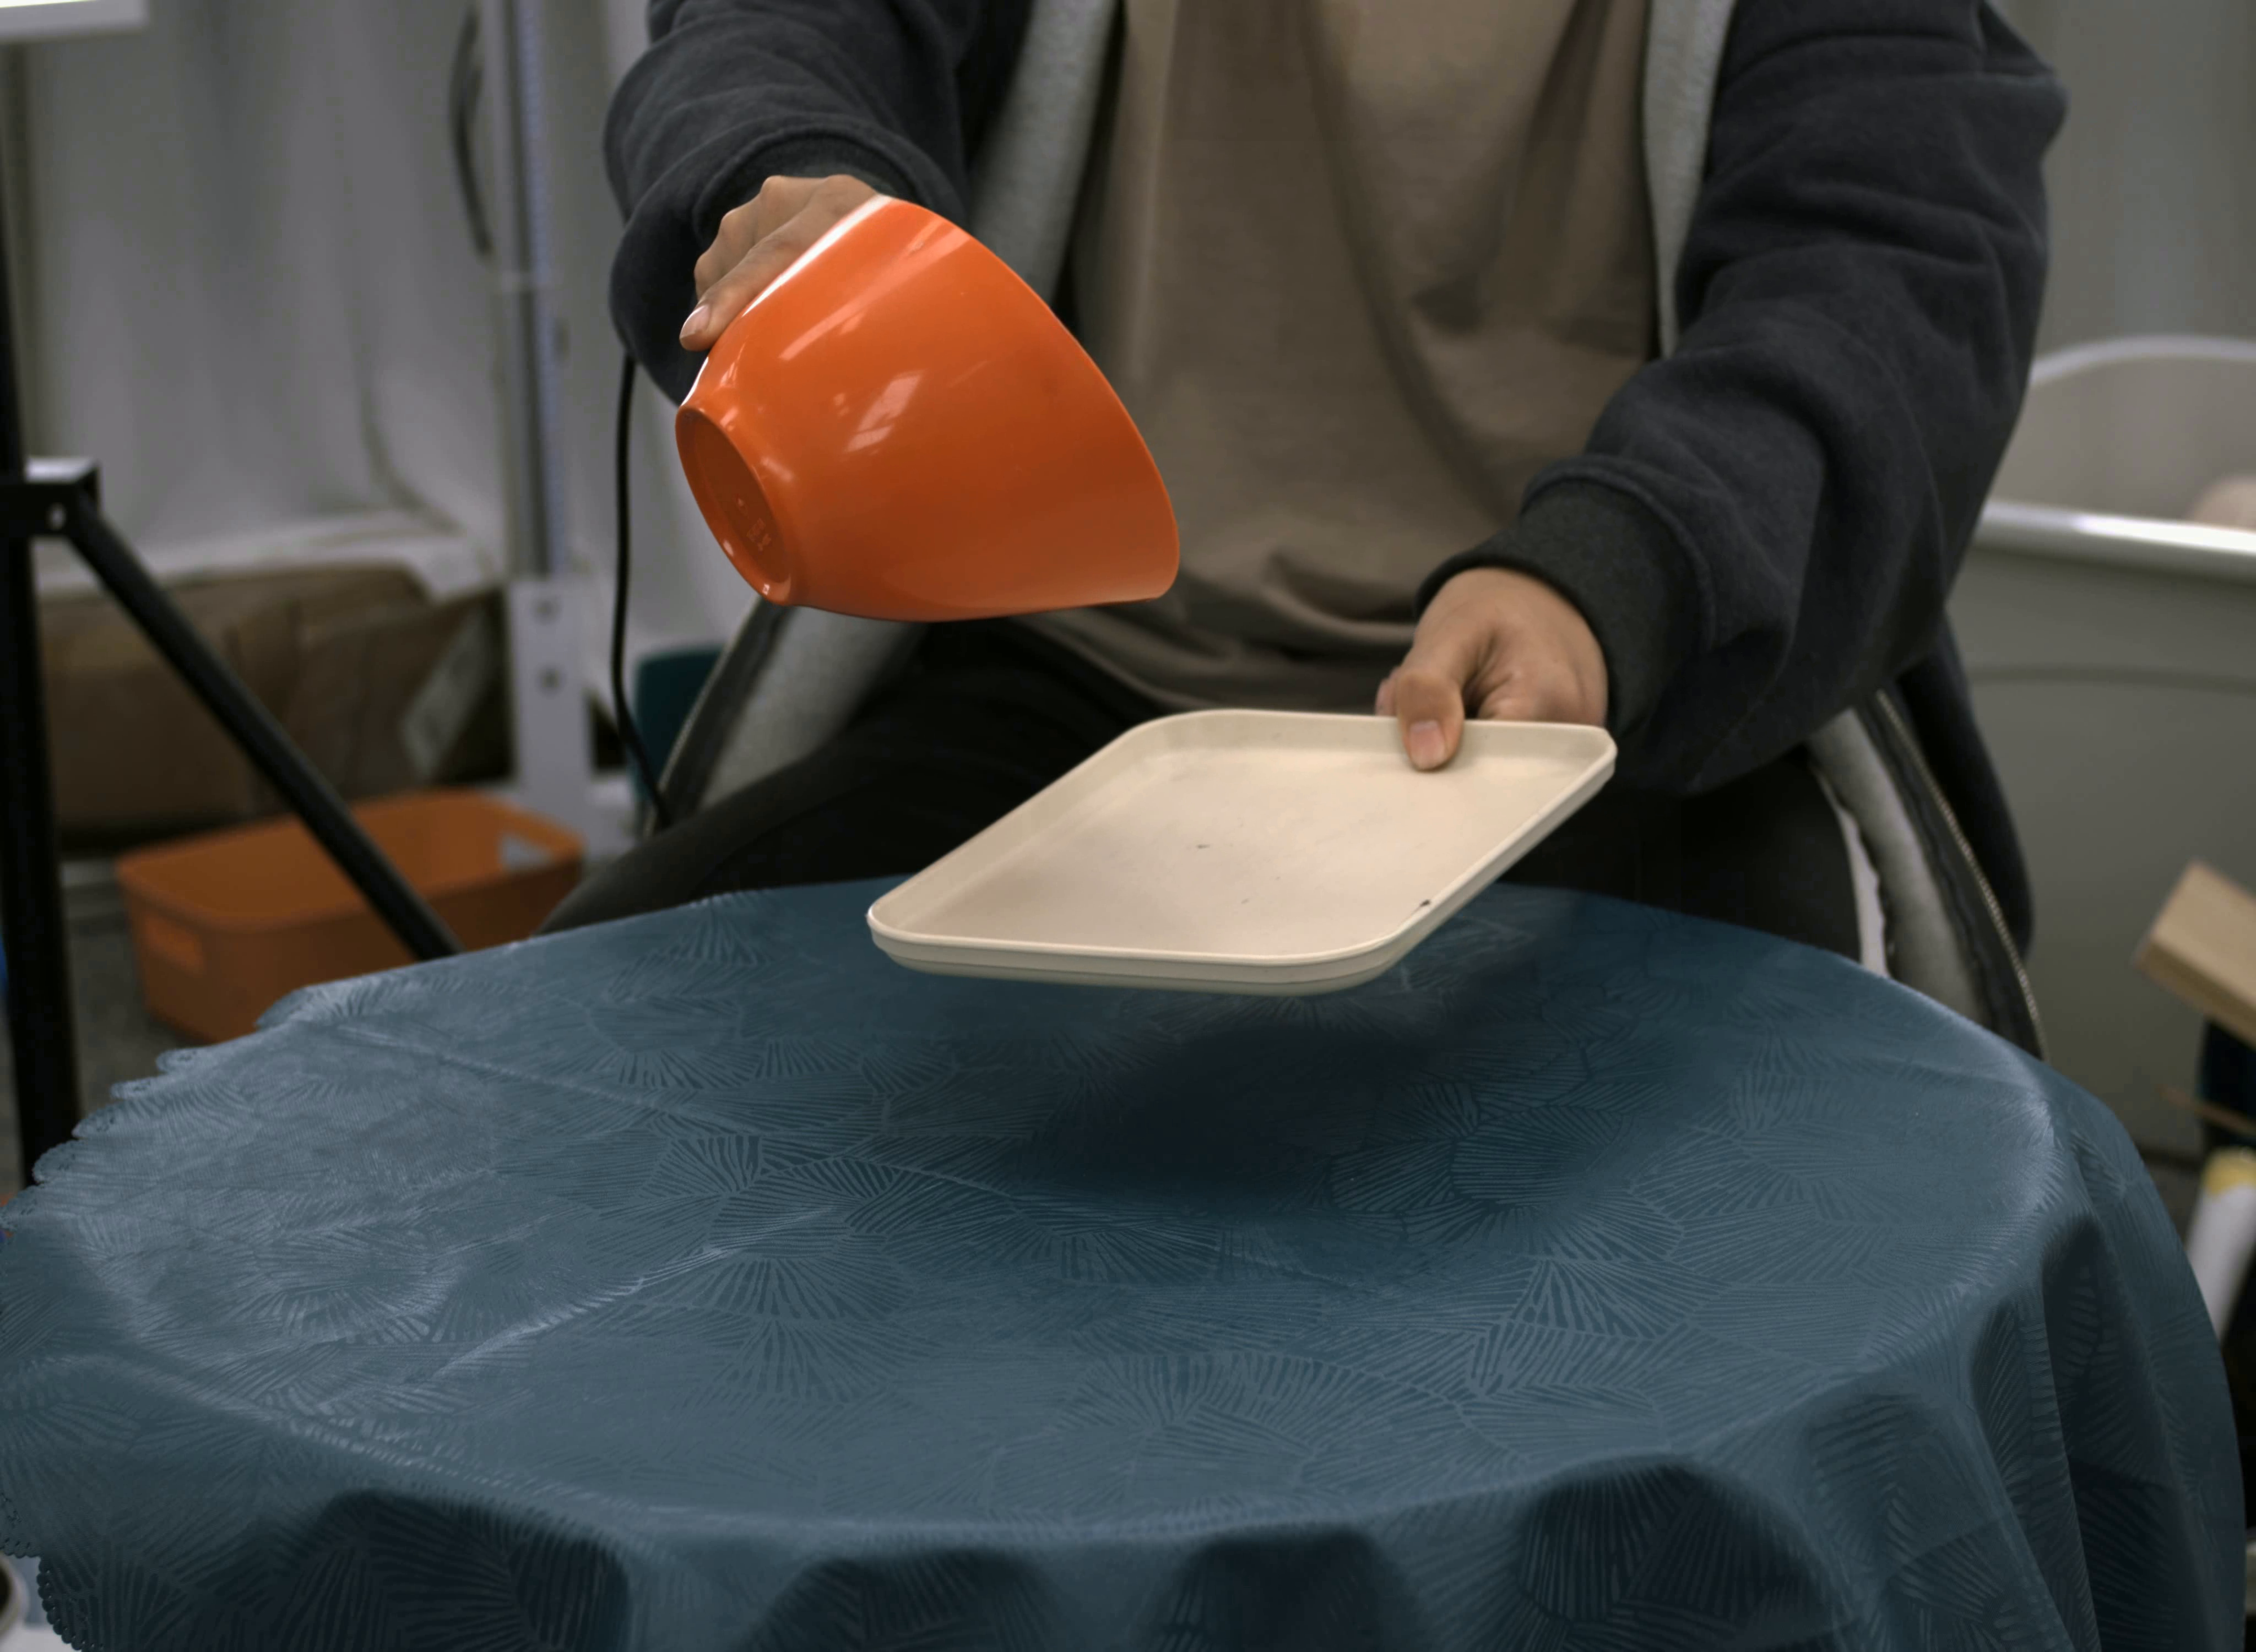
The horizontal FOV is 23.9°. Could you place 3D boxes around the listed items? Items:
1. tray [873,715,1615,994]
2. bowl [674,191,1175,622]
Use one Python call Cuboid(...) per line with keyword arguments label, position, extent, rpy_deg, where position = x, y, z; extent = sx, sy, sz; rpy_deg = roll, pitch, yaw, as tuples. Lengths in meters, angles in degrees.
Cuboid(label="tray", position=(0.040, 0.008, 1.629), extent=(0.174, 0.017, 0.236), rpy_deg=(2, 18, 26))
Cuboid(label="bowl", position=(-0.069, -0.109, 1.592), extent=(0.103, 0.147, 0.151), rpy_deg=(-29, 24, -18))
